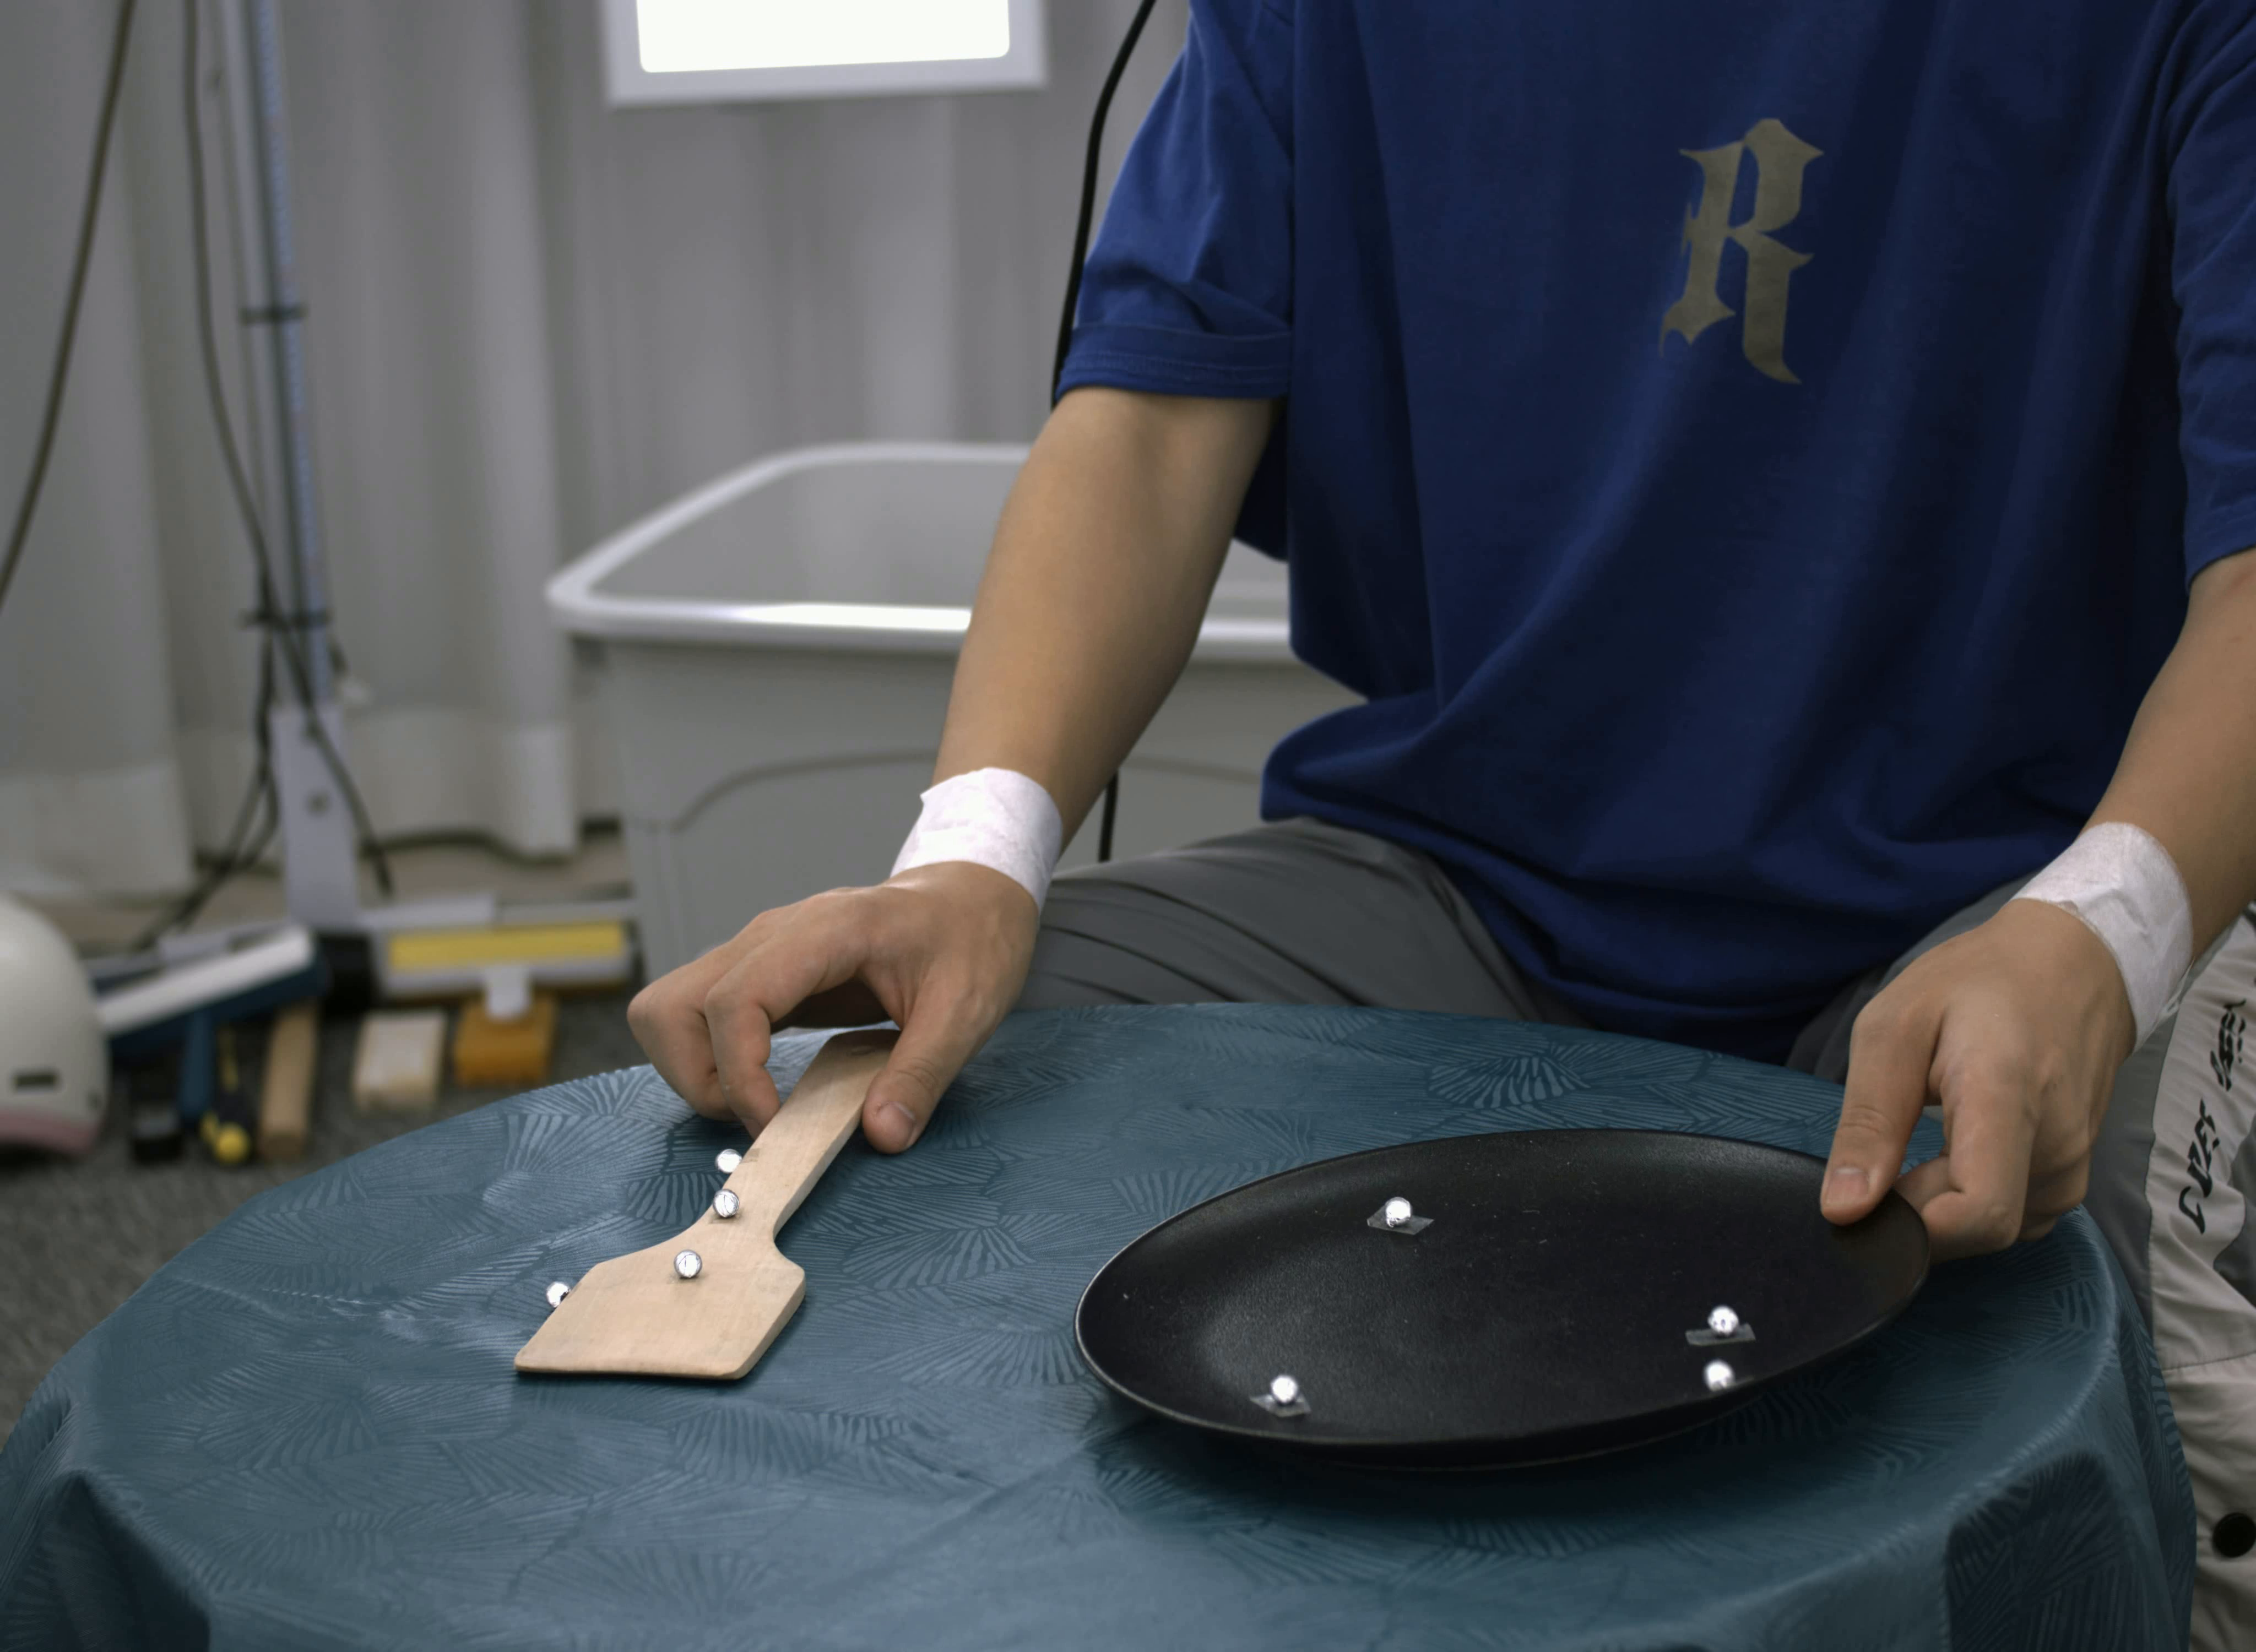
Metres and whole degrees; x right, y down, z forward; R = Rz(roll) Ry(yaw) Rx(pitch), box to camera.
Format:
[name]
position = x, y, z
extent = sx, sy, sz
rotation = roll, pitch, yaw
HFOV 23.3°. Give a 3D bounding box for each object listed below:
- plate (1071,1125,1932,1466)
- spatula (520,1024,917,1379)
[plate]
position = 0.105, 0.135, 1.541
extent = 0.243, 0.023, 0.246
rotation = -7, 15, 2
[spatula]
position = -0.114, 0.114, 1.702
extent = 0.072, 0.010, 0.295
rotation = 0, 18, 13
